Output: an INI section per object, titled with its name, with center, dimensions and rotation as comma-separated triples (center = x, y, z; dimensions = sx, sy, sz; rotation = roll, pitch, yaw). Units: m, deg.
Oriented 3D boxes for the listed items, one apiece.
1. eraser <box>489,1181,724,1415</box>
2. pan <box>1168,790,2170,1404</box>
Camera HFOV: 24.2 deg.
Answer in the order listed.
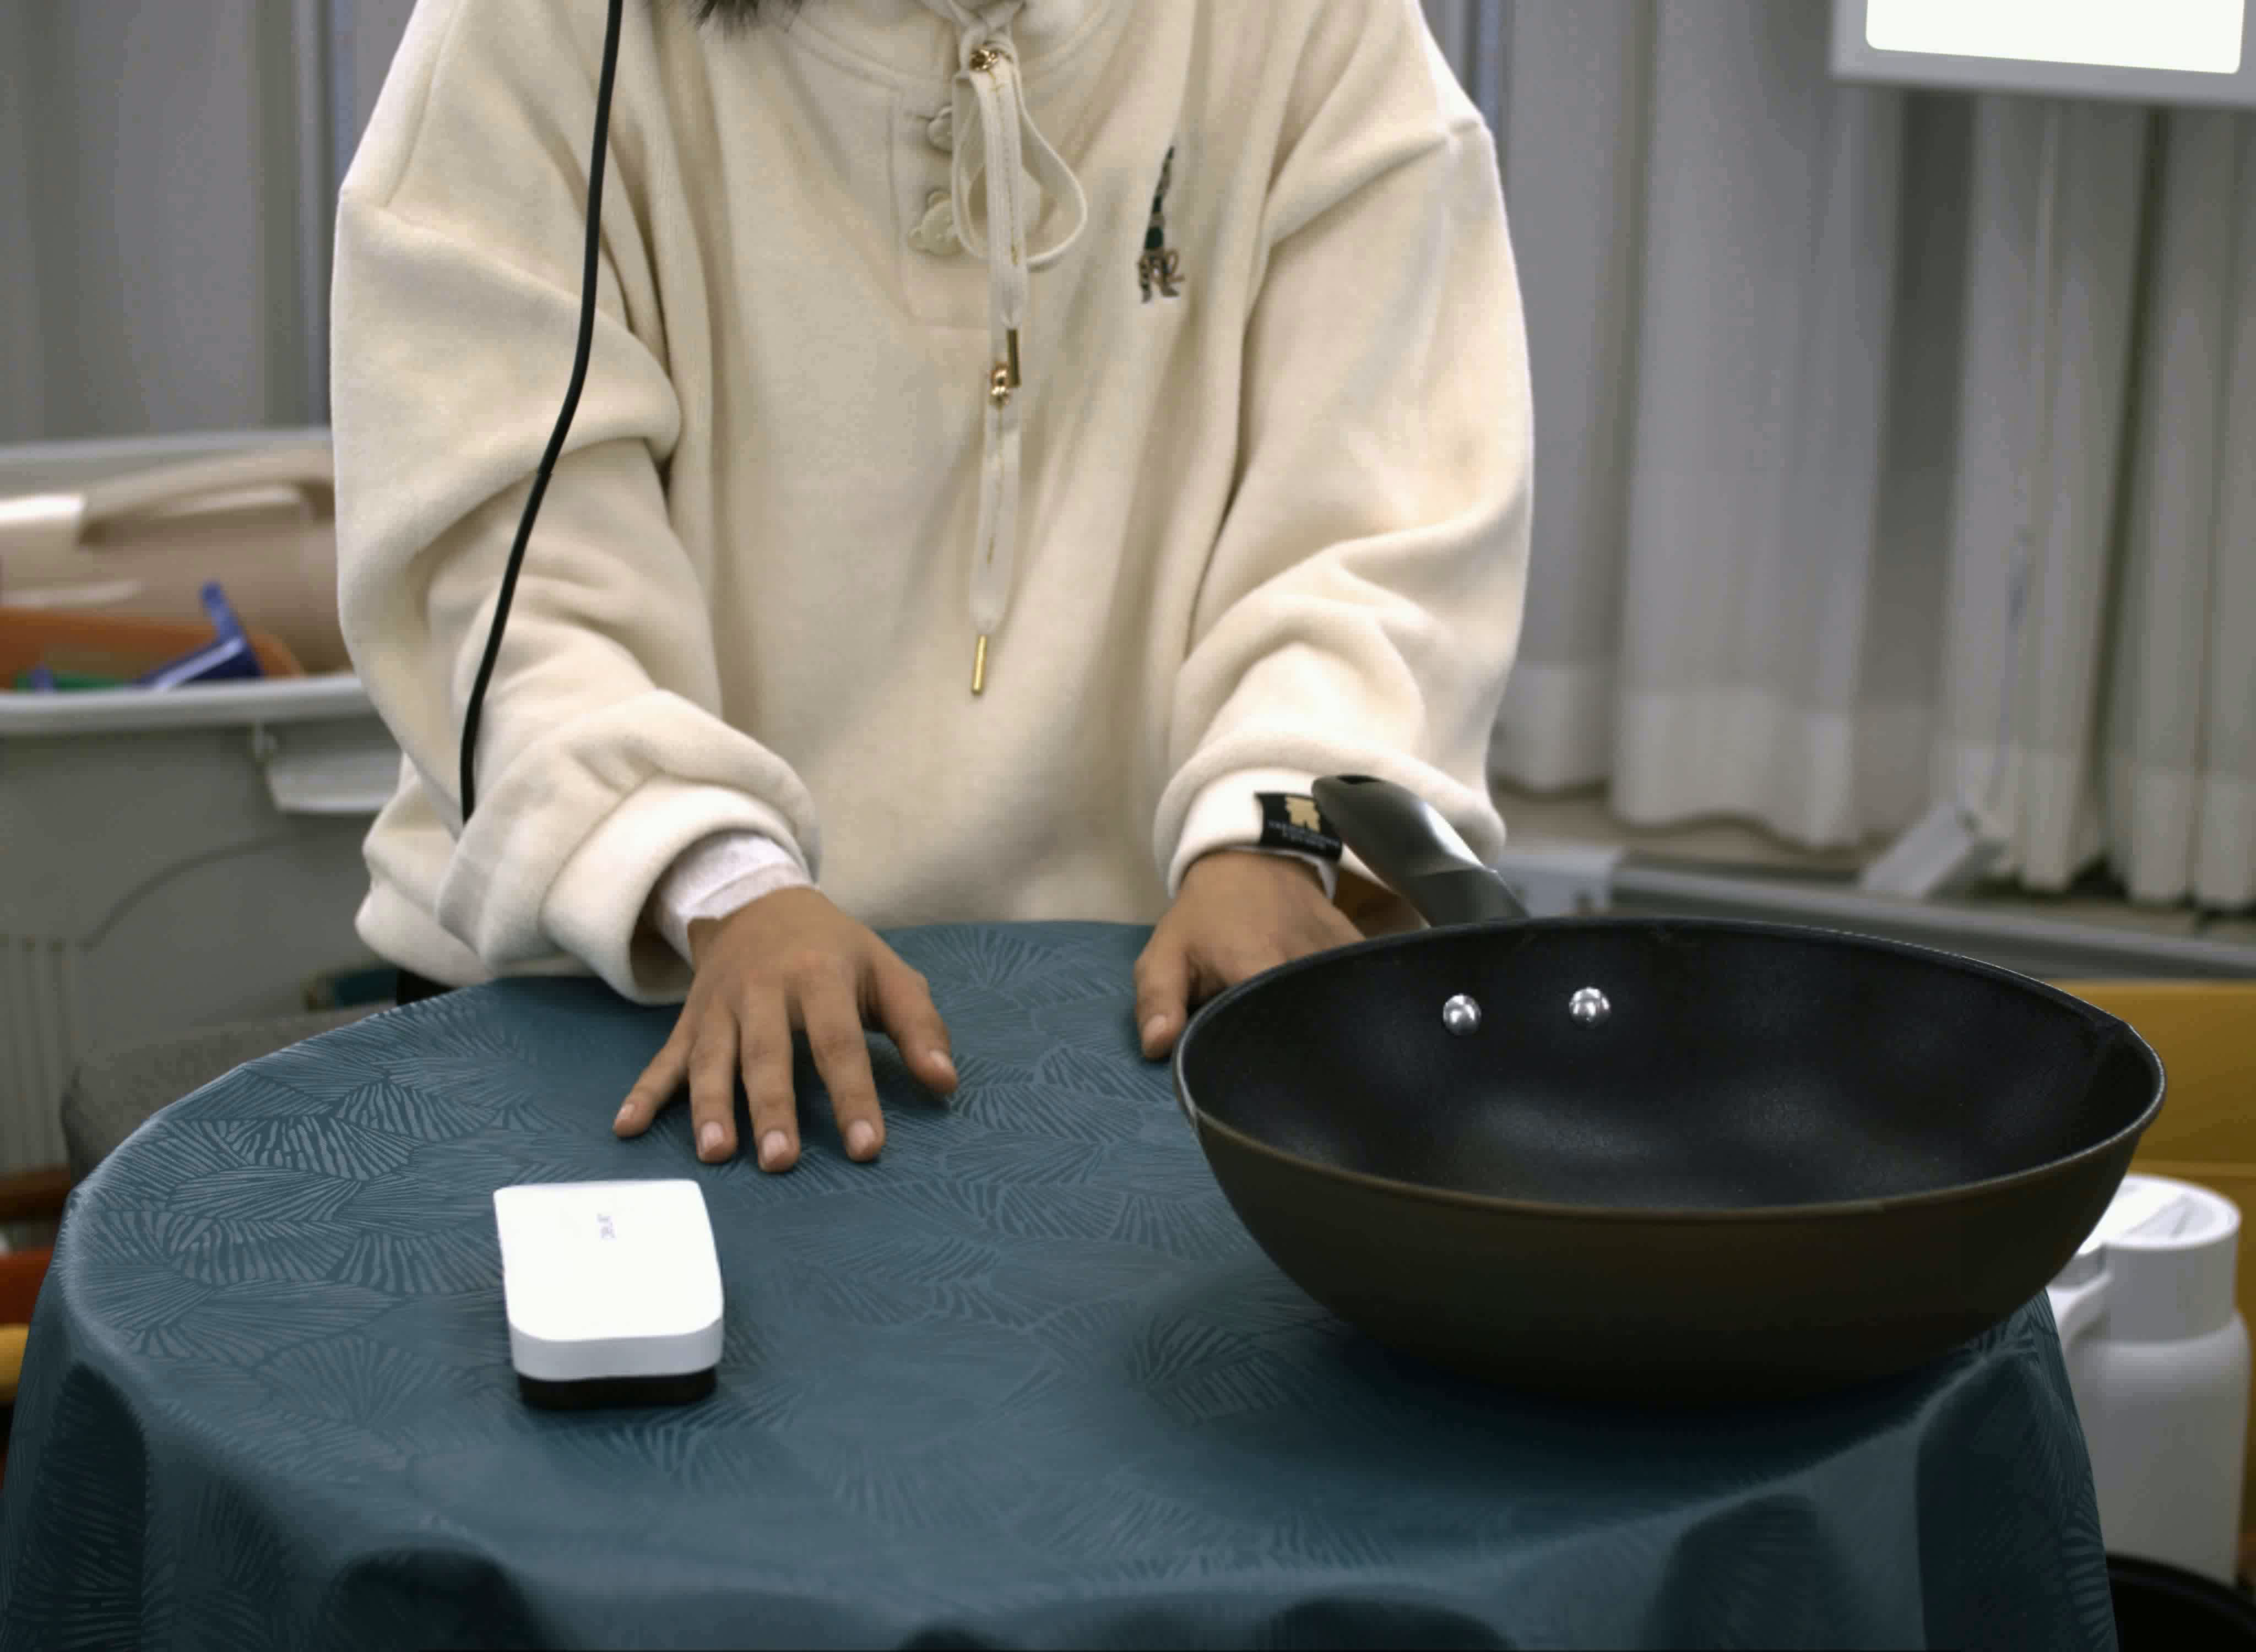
[eraser]
center = -0.148, 0.130, 1.498
dimensions = 0.063, 0.035, 0.130
rotation = 1, 16, -9
[pan]
center = 0.131, 0.079, 1.591
dimensions = 0.288, 0.087, 0.459
rotation = -3, 15, -14
